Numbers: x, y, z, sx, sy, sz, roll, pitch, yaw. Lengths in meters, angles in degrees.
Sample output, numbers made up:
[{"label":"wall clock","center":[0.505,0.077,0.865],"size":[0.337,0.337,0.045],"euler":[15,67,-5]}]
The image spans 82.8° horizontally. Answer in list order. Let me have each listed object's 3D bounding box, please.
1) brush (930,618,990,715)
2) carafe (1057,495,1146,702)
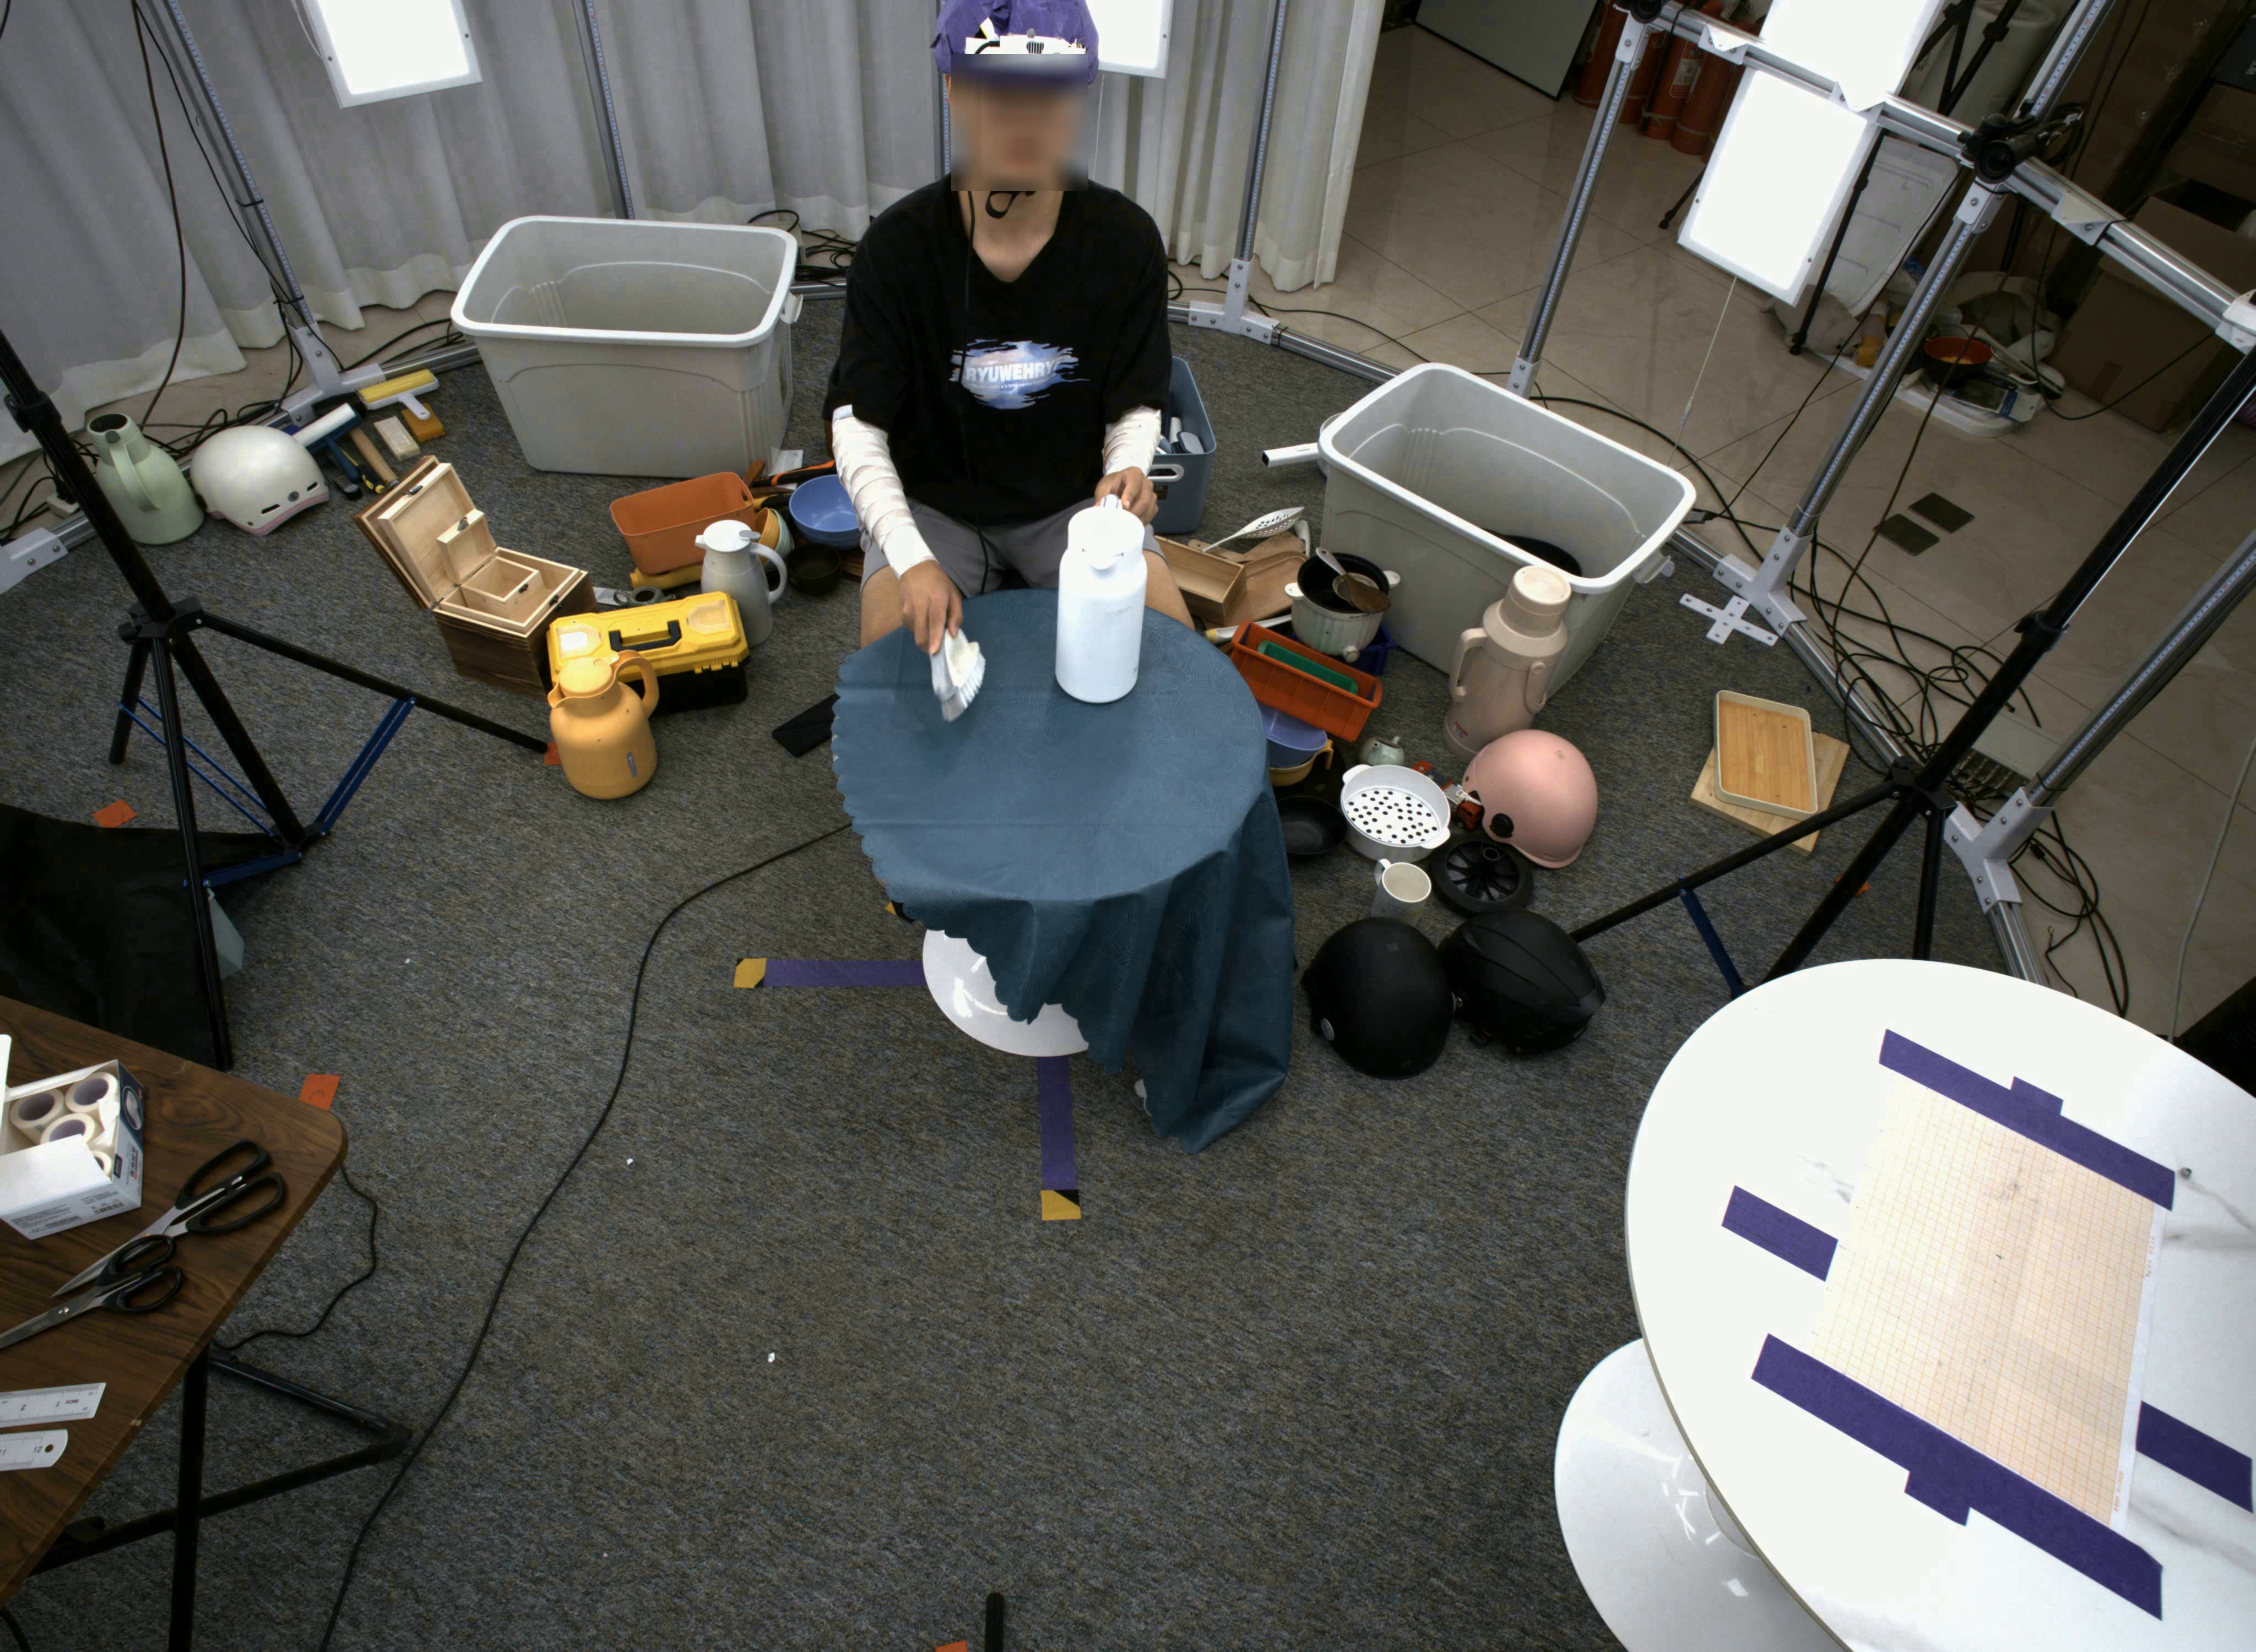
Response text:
[{"label":"brush","center":[-0.236,-0.223,1.751],"size":[0.061,0.092,0.179],"euler":[-21,29,14]},{"label":"carafe","center":[-0.037,-0.314,1.769],"size":[0.124,0.262,0.177],"euler":[4,49,2]}]
